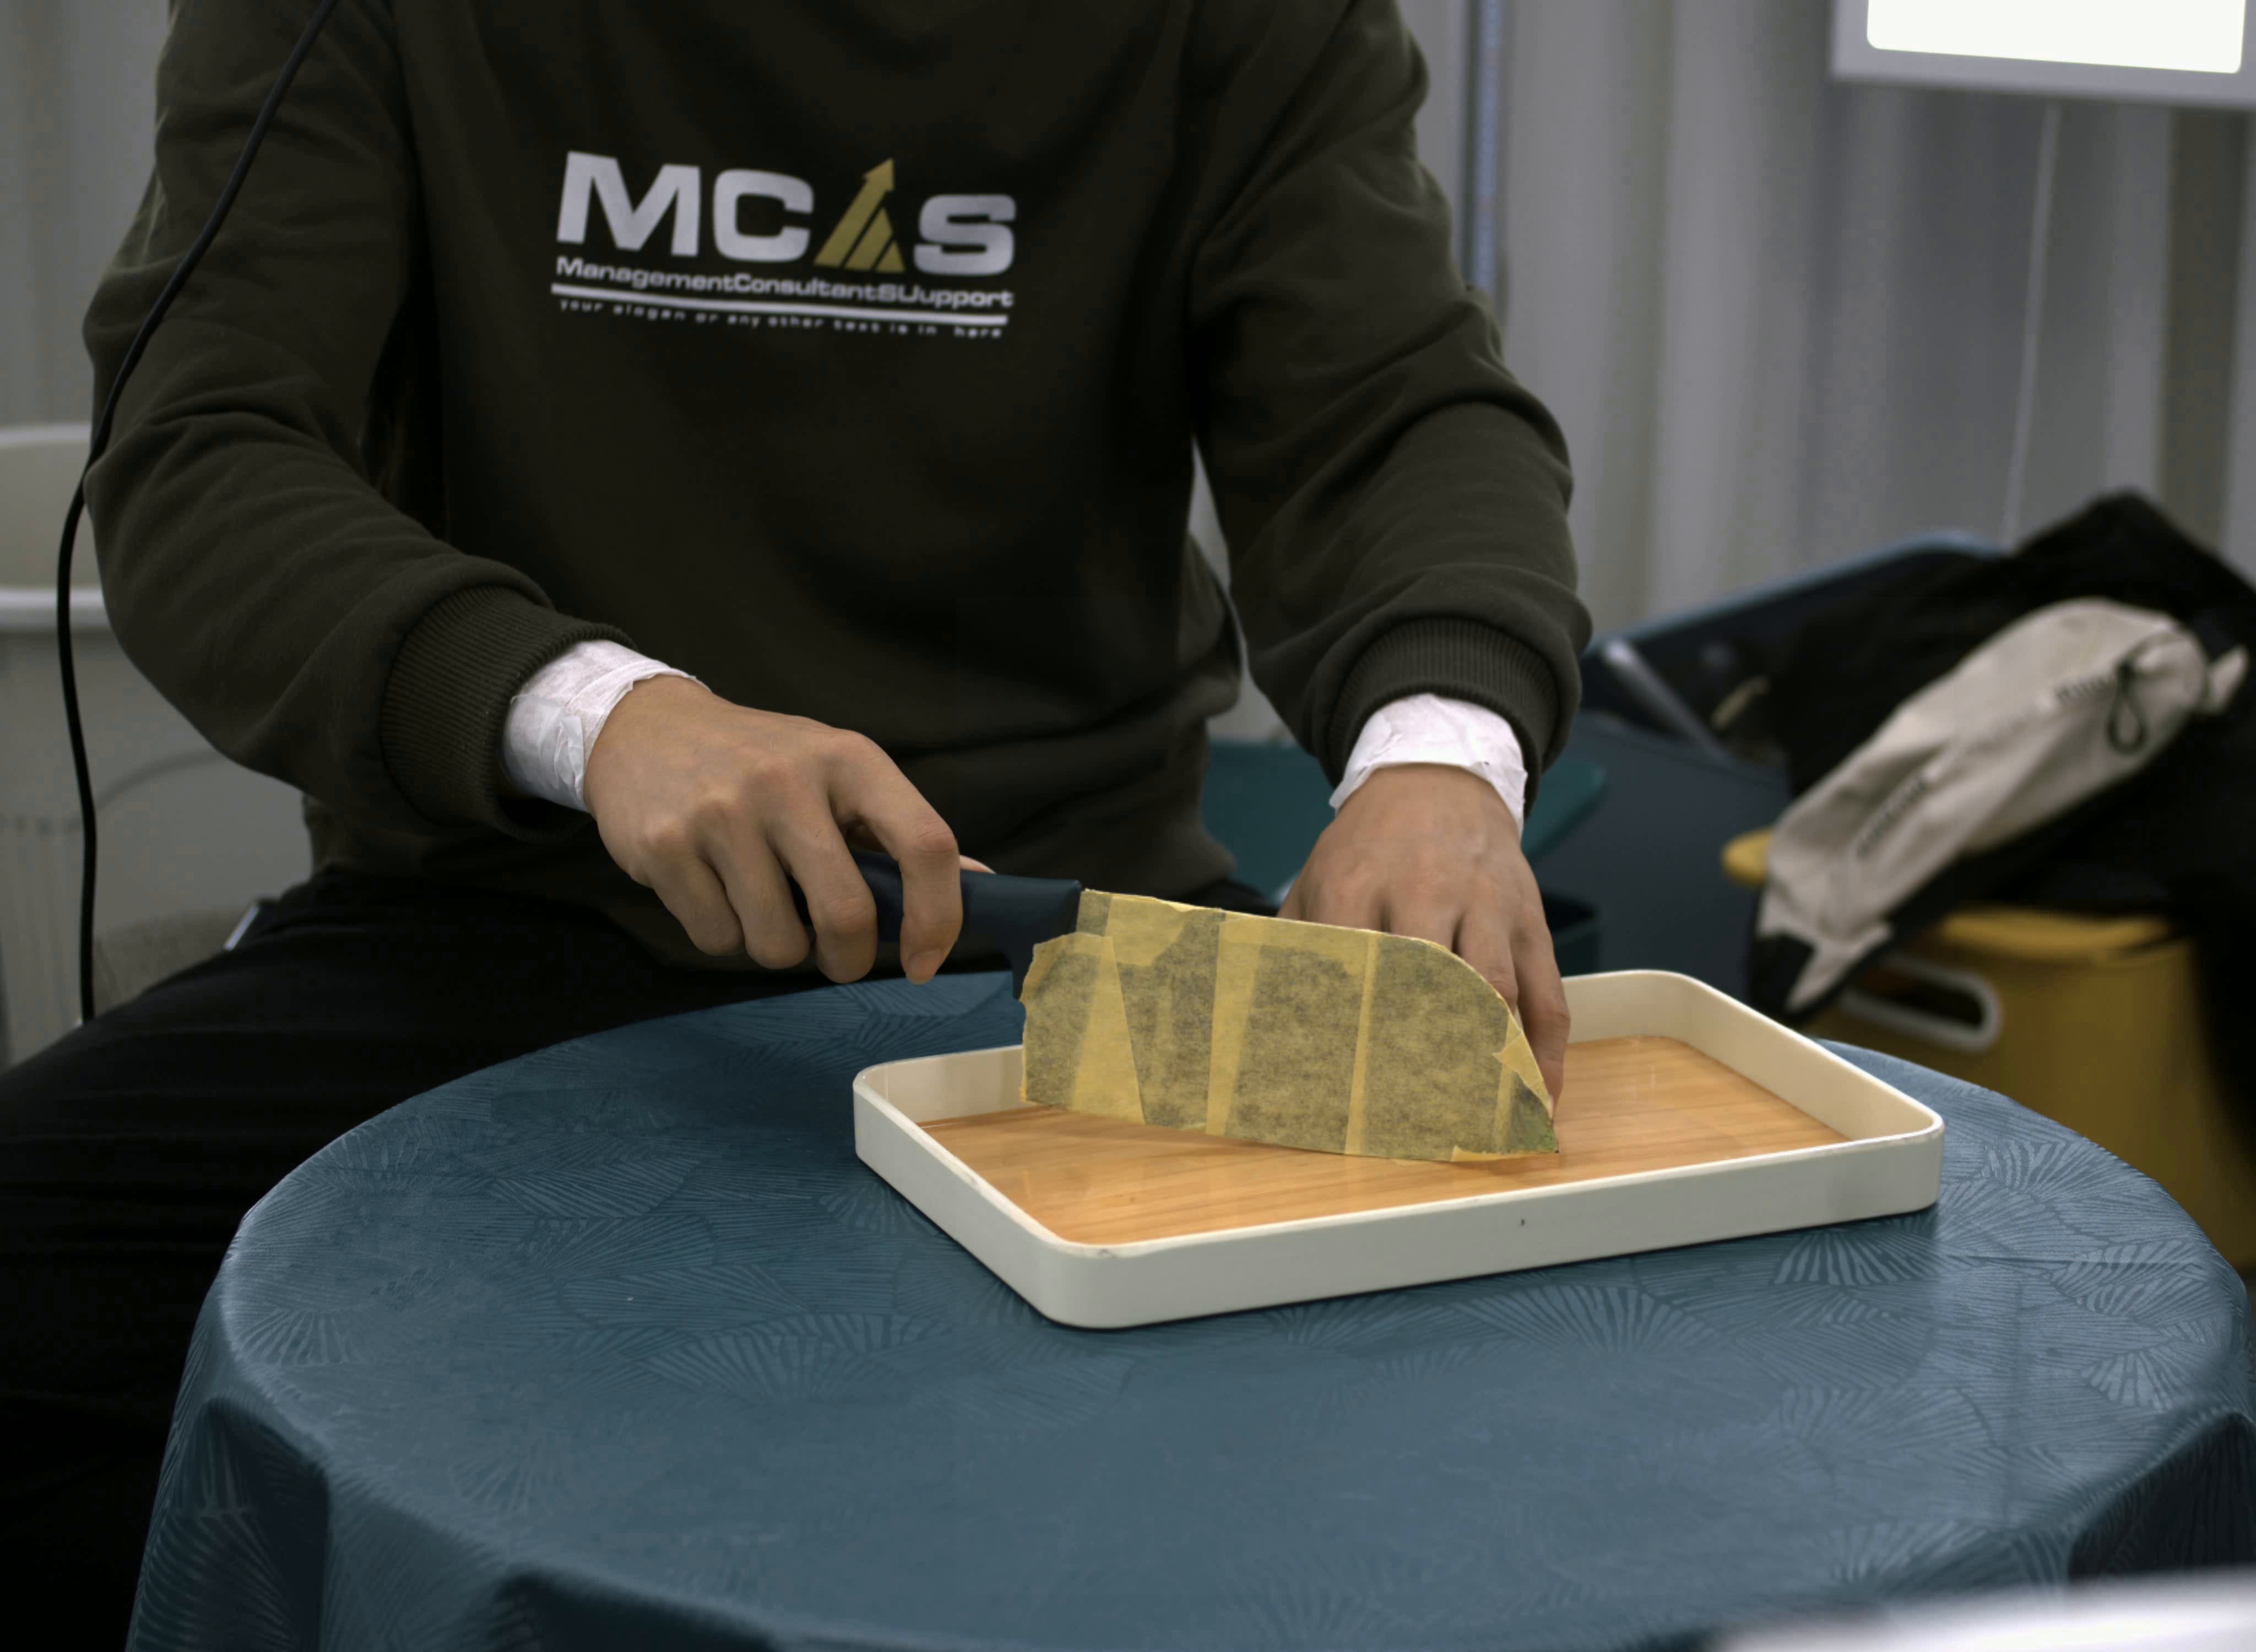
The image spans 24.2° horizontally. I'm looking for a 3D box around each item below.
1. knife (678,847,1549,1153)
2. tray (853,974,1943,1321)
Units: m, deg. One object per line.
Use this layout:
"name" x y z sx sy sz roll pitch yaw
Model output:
"knife" -0.007 0.053 1.649 0.287 0.081 0.027 11 11 13
"tray" 0.082 0.096 1.636 0.301 0.027 0.189 -6 16 -23
